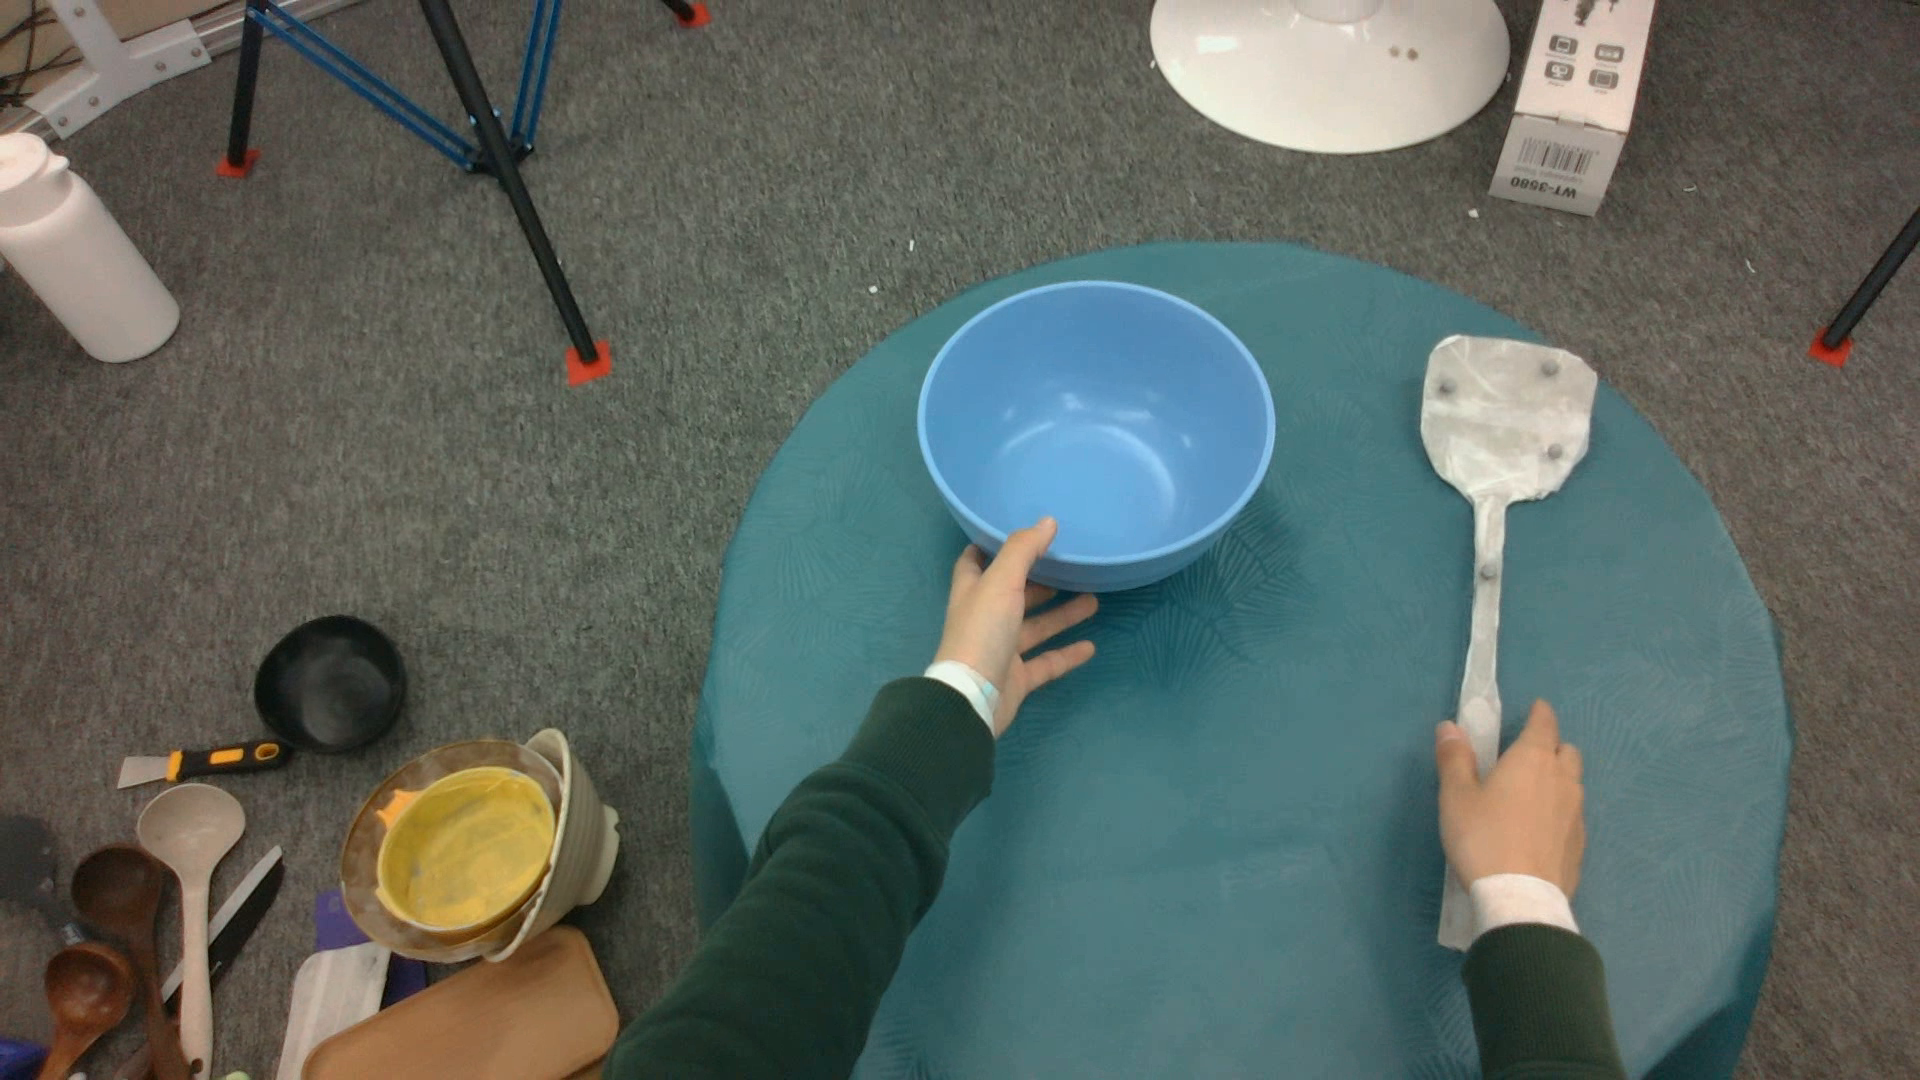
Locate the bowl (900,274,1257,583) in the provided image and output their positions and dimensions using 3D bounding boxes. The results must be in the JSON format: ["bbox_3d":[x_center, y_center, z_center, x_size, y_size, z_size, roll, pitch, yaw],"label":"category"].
[{"bbox_3d":[0.065,-0.050,0.794,0.196,0.095,0.197,0,56,0],"label":"bowl"}]

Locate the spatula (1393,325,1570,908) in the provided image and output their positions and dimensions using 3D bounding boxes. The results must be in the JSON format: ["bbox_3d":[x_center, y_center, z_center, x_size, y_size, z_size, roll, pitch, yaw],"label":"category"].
[{"bbox_3d":[0.279,0.029,0.770,0.098,0.044,0.366,14,58,8],"label":"spatula"}]
